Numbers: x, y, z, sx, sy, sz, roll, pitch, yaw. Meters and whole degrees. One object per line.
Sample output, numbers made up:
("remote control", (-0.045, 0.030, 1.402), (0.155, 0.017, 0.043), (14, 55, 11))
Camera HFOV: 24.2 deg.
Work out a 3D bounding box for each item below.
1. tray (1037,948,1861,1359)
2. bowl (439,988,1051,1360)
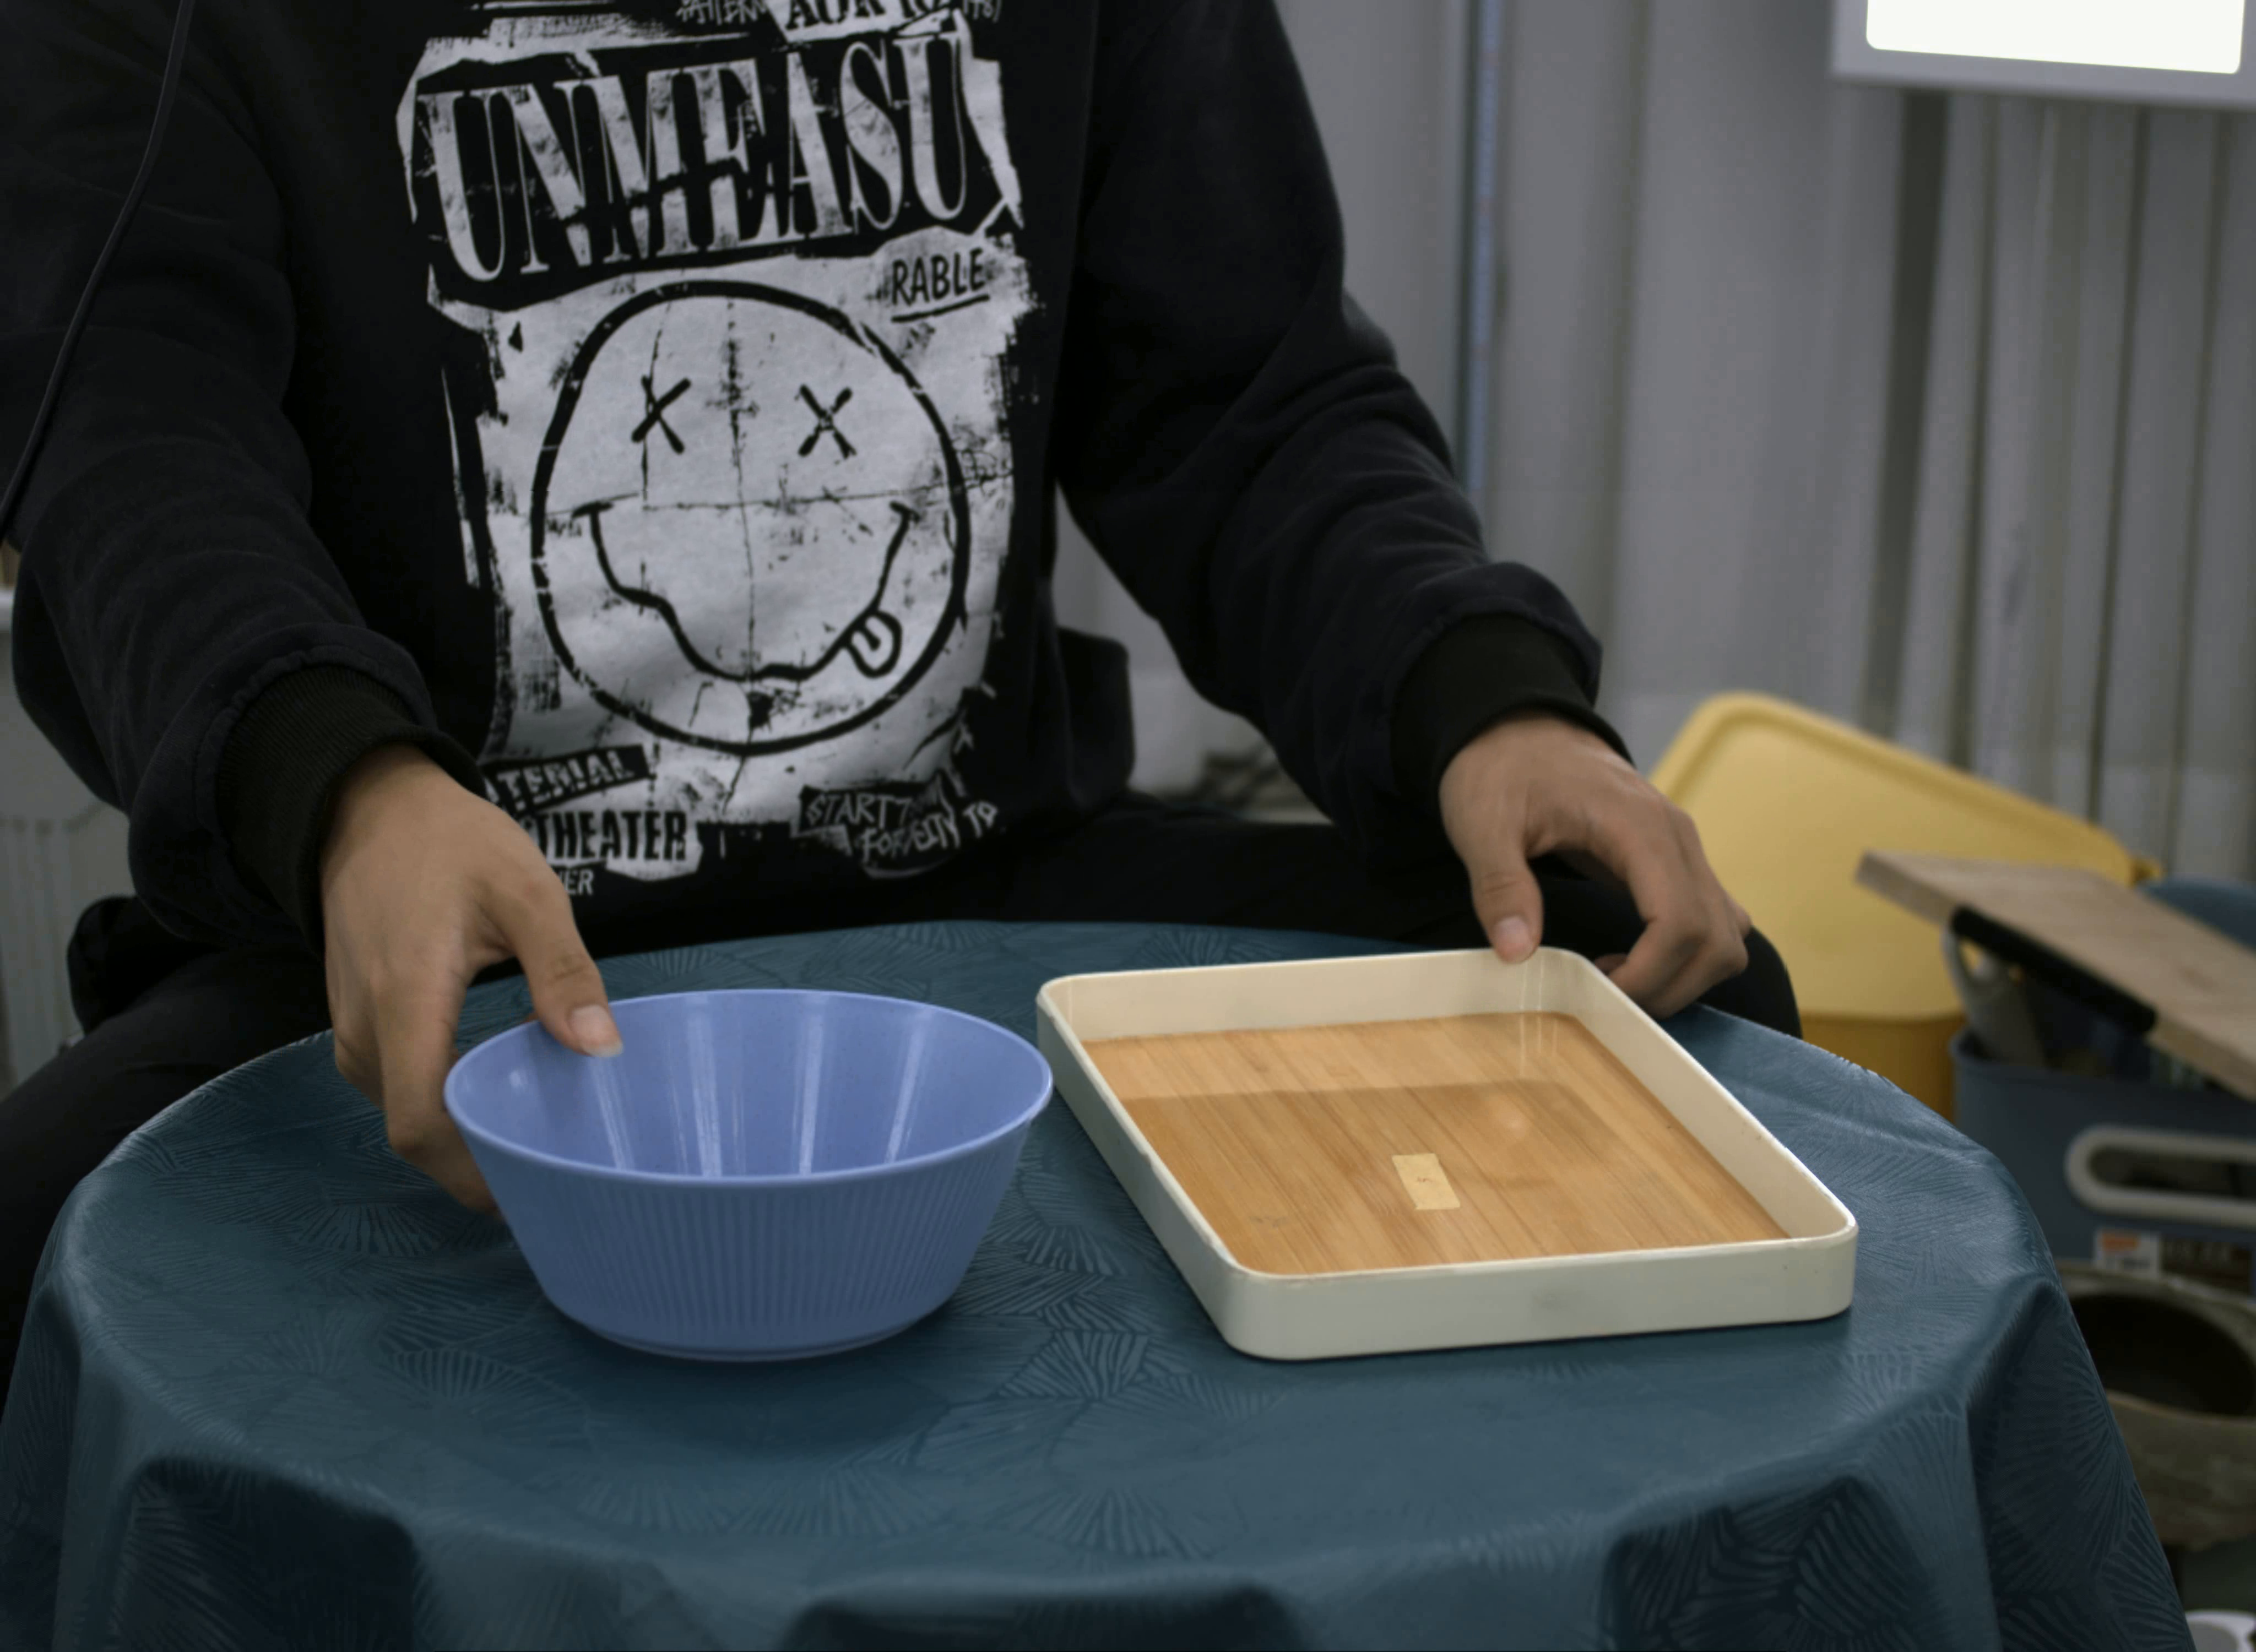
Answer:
("tray", (0.091, 0.097, 1.637), (0.192, 0.027, 0.297), (-2, 16, -13))
("bowl", (-0.111, 0.103, 1.524), (0.175, 0.071, 0.175), (2, 16, 0))
